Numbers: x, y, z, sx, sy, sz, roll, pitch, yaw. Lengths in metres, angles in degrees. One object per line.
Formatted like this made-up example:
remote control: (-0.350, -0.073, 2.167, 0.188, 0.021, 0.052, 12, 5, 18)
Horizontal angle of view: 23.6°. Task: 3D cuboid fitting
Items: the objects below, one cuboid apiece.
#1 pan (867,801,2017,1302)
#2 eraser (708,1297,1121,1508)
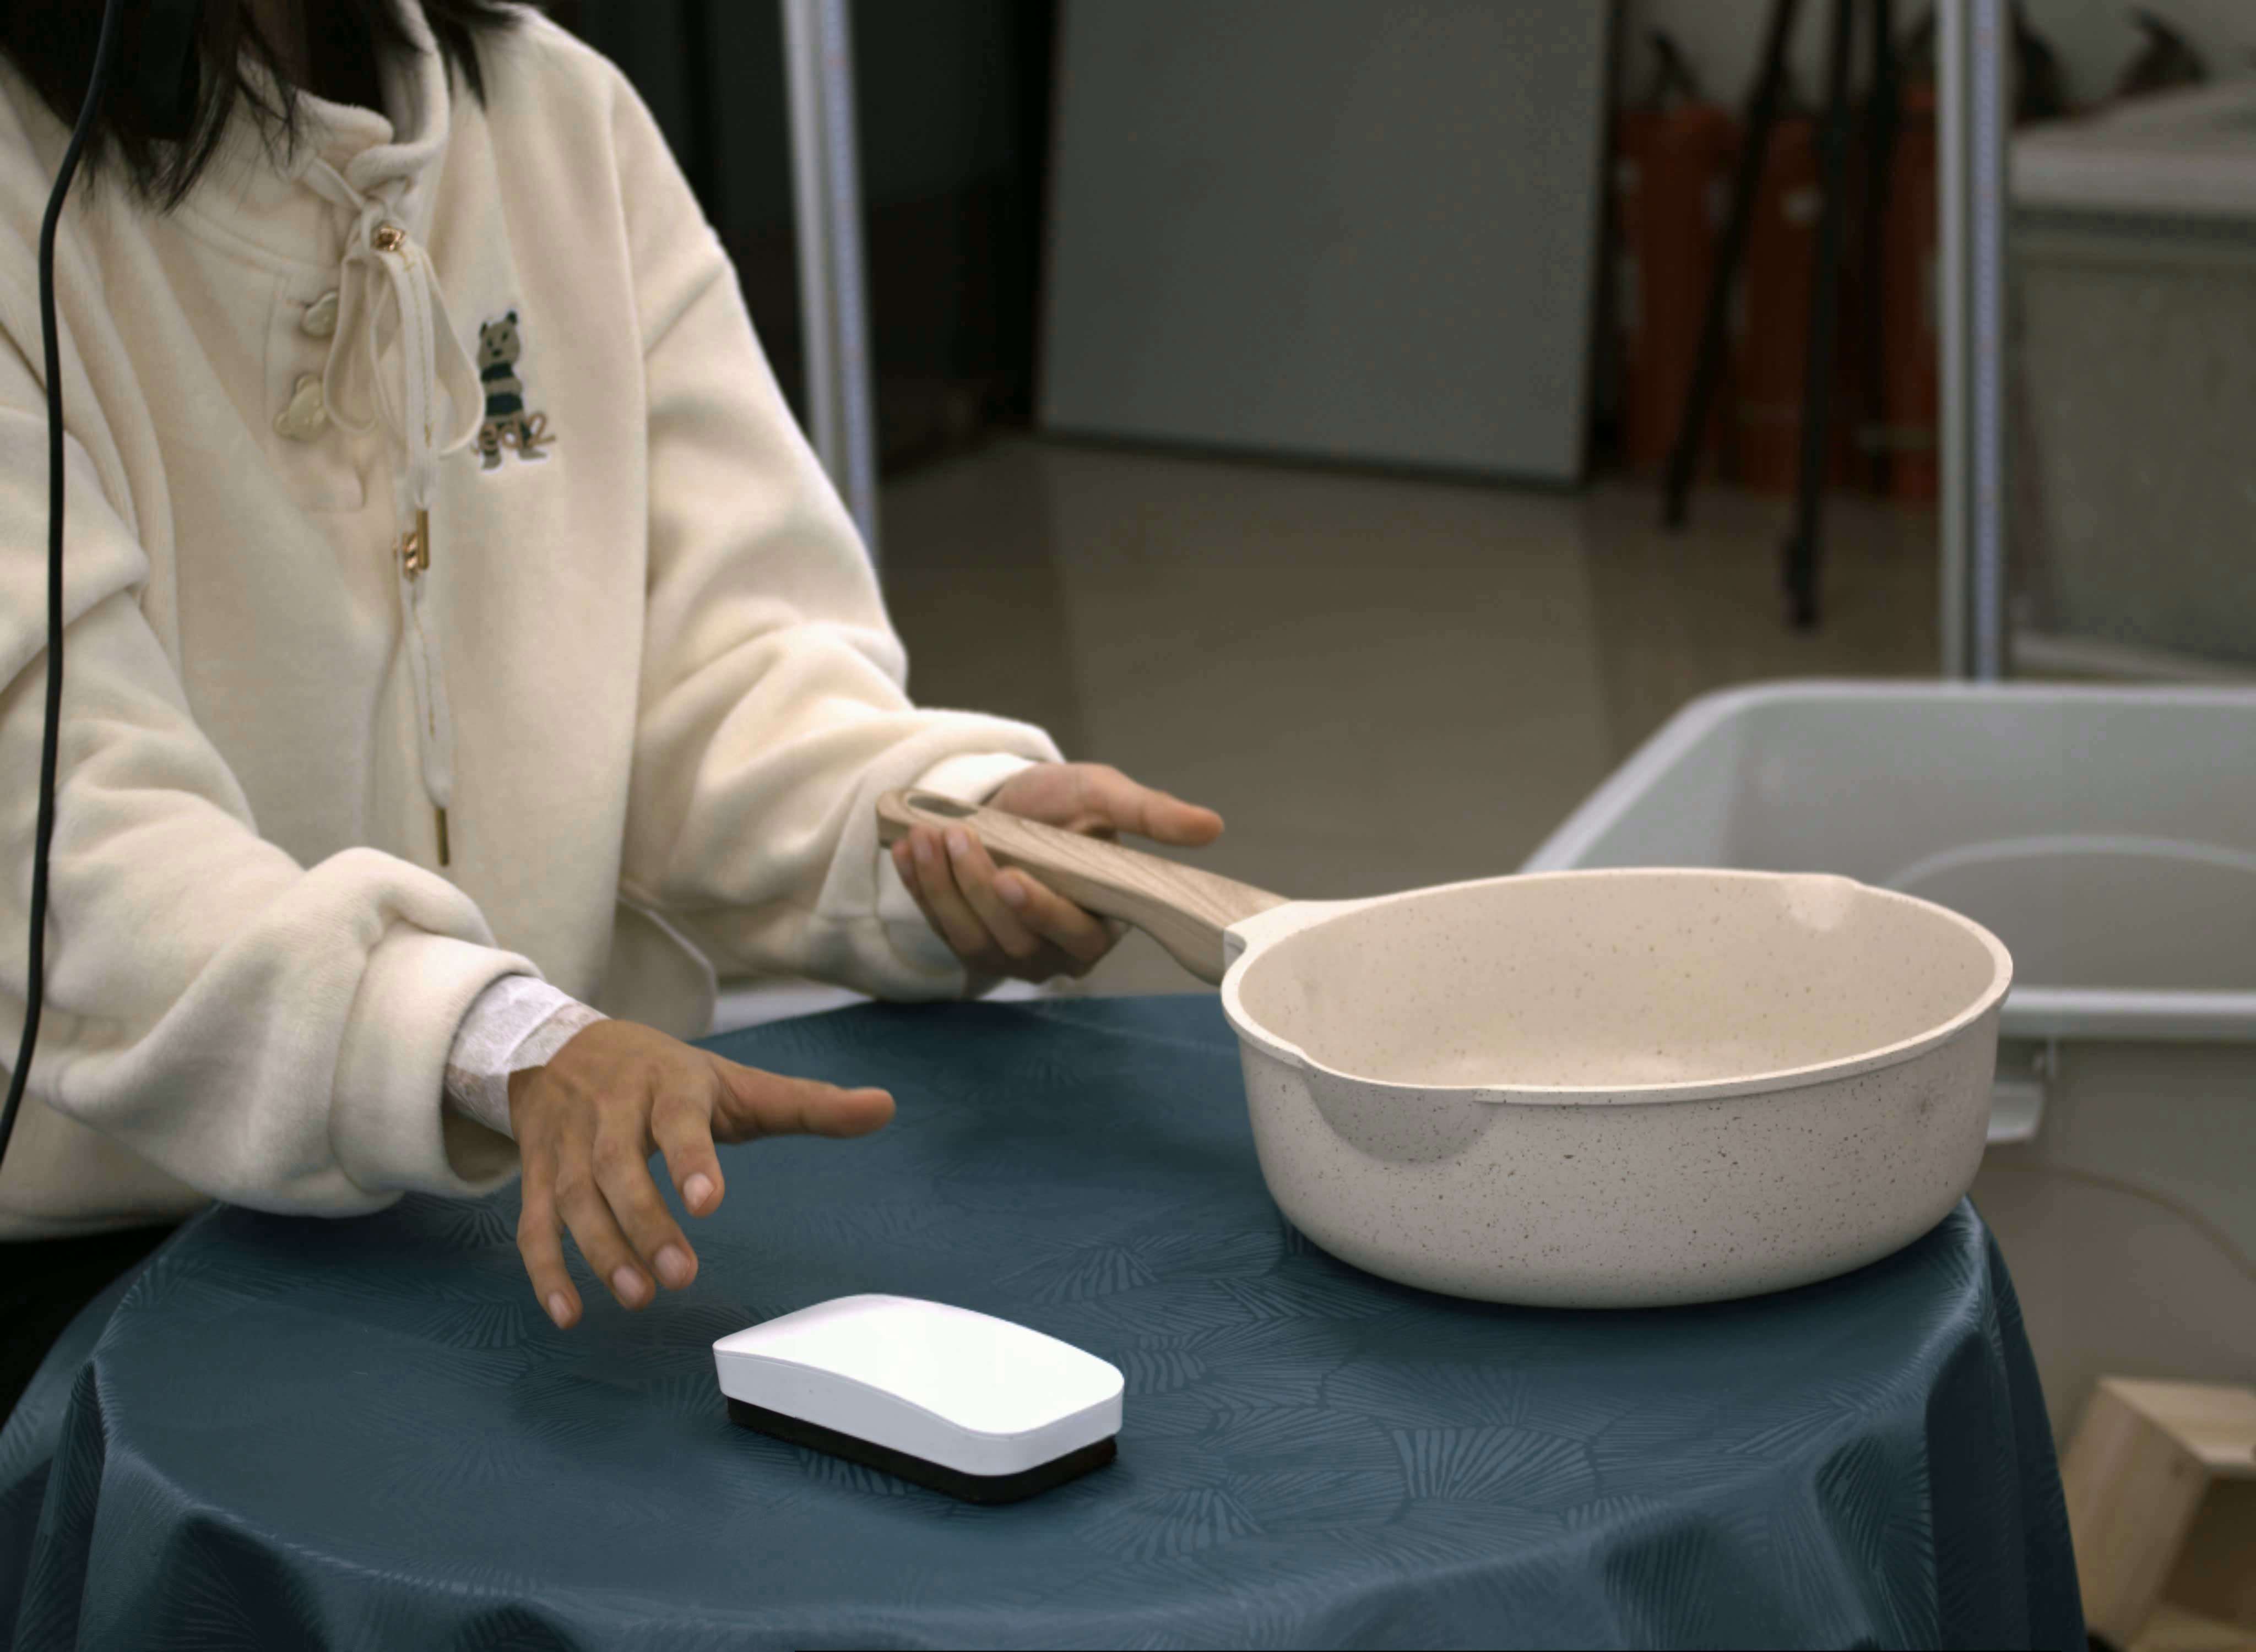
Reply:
pan: (0.086, 0.063, 1.764, 0.438, 0.103, 0.258, 8, 19, 39)
eraser: (-0.061, 0.163, 1.555, 0.062, 0.035, 0.132, -12, 16, -42)
